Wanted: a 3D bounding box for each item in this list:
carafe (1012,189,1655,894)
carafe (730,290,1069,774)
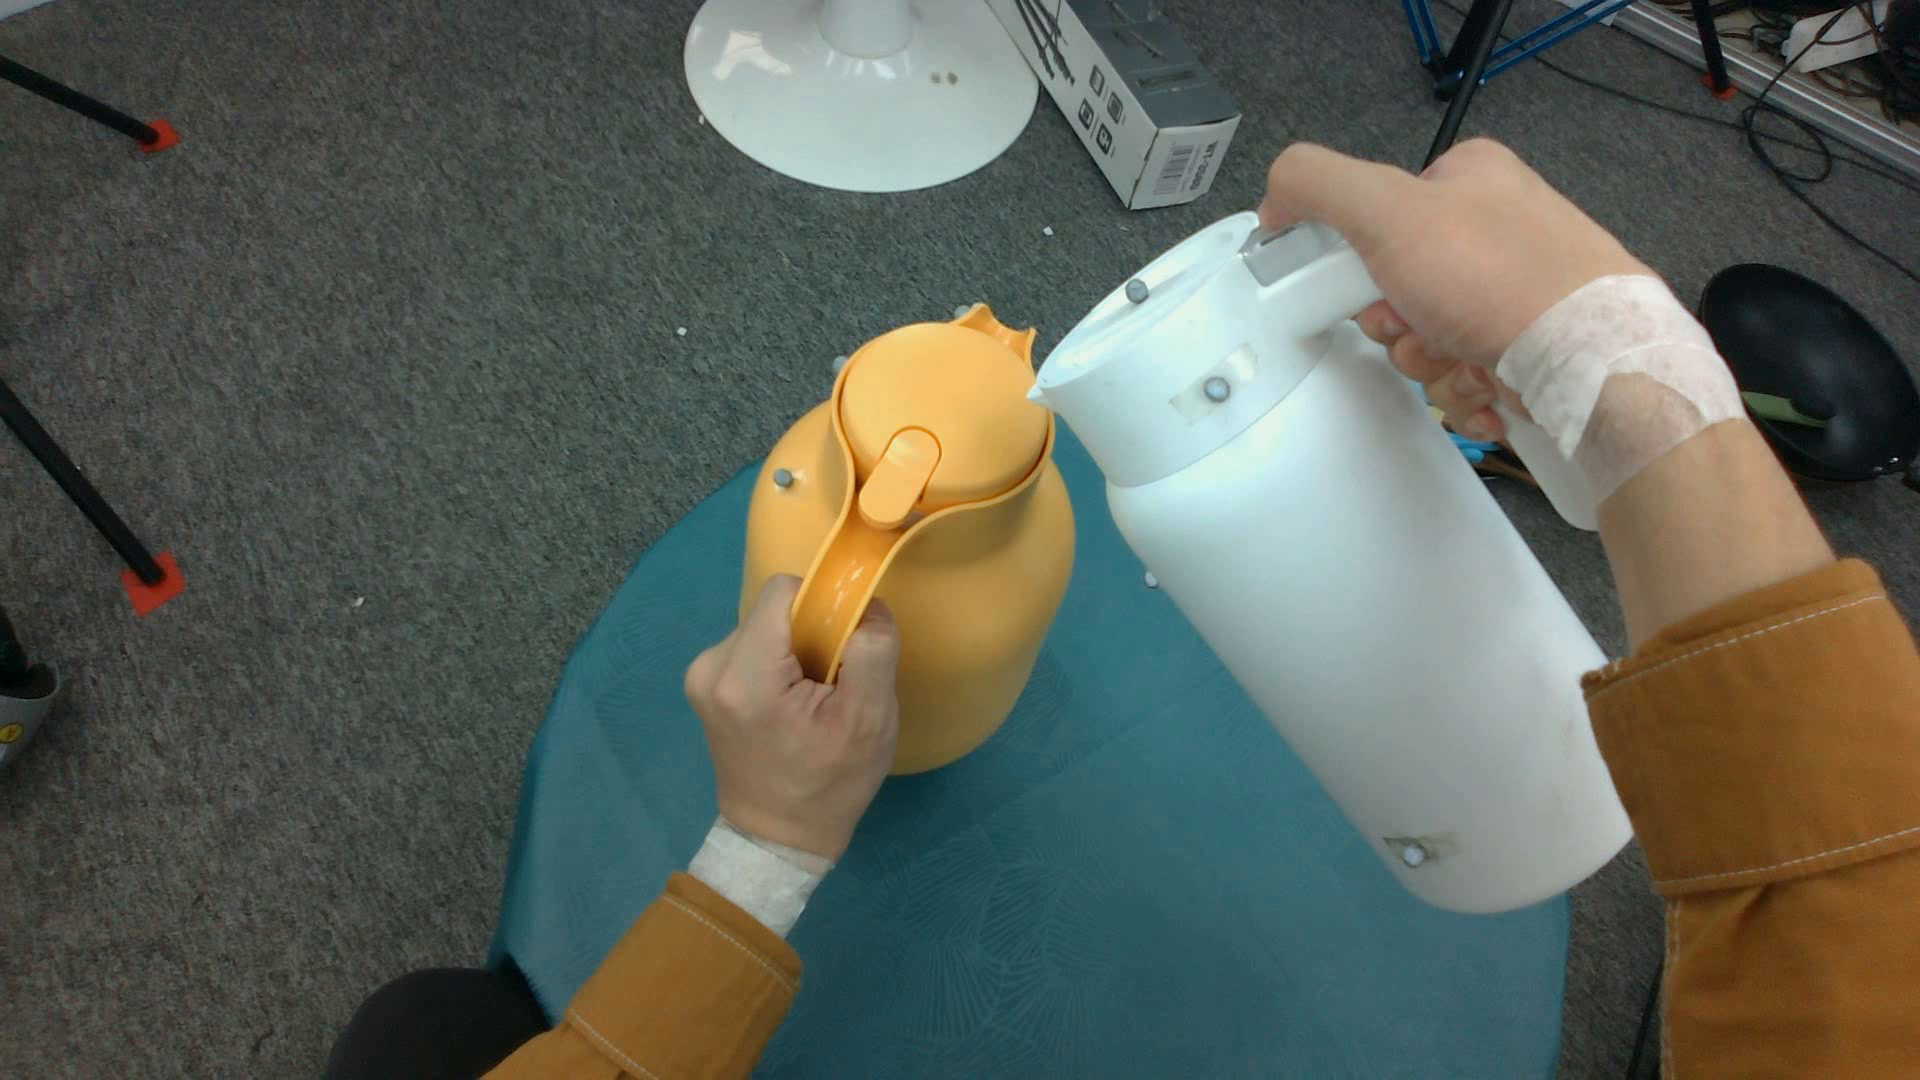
[{"bbox_3d":[0.158,-0.001,0.518,0.268,0.172,0.124,51,45,-13],"label":"carafe"},{"bbox_3d":[-0.039,0.013,0.670,0.163,0.259,0.203,28,56,9],"label":"carafe"}]
